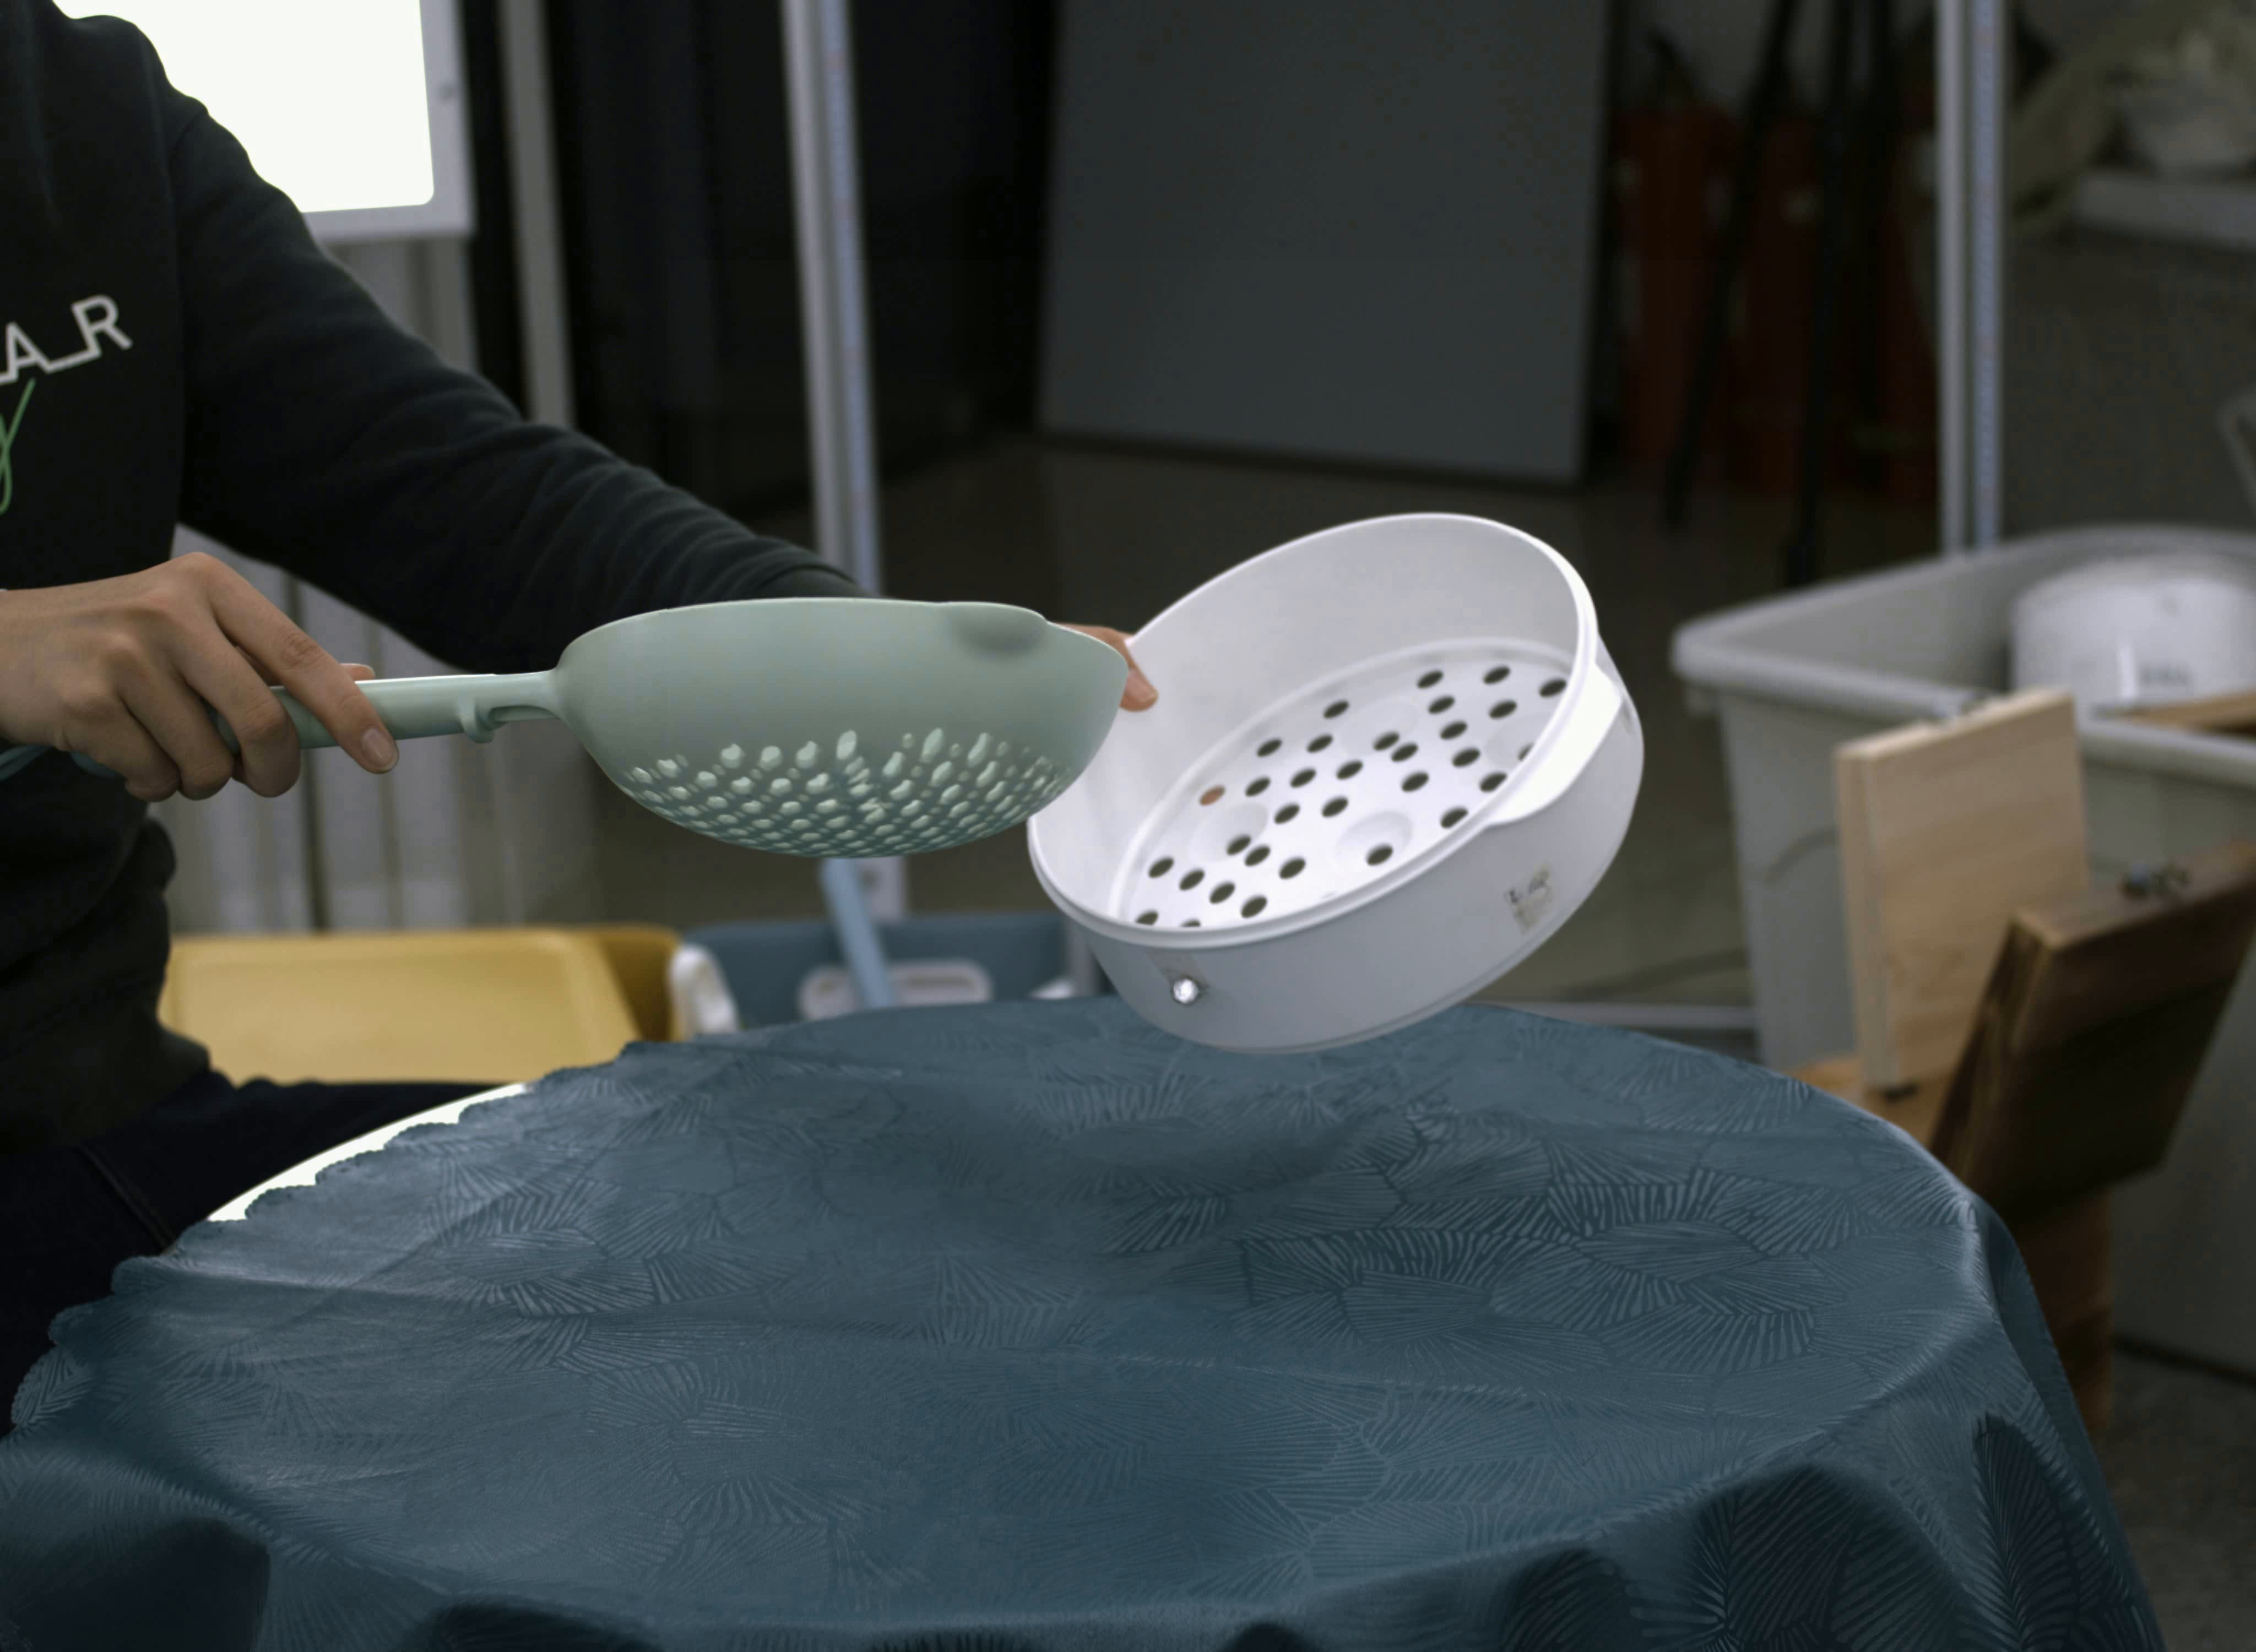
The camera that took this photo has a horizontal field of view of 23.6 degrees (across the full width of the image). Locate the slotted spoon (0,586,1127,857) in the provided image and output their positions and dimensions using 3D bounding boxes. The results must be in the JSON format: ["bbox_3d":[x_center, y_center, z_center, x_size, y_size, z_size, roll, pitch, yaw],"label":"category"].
[{"bbox_3d":[-0.178,-0.034,1.635,0.357,0.076,0.168,5,-11,16],"label":"slotted spoon"}]

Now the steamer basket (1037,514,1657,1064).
[{"bbox_3d":[0.074,-0.012,1.738,0.232,0.069,0.201,3,45,41],"label":"steamer basket"}]
